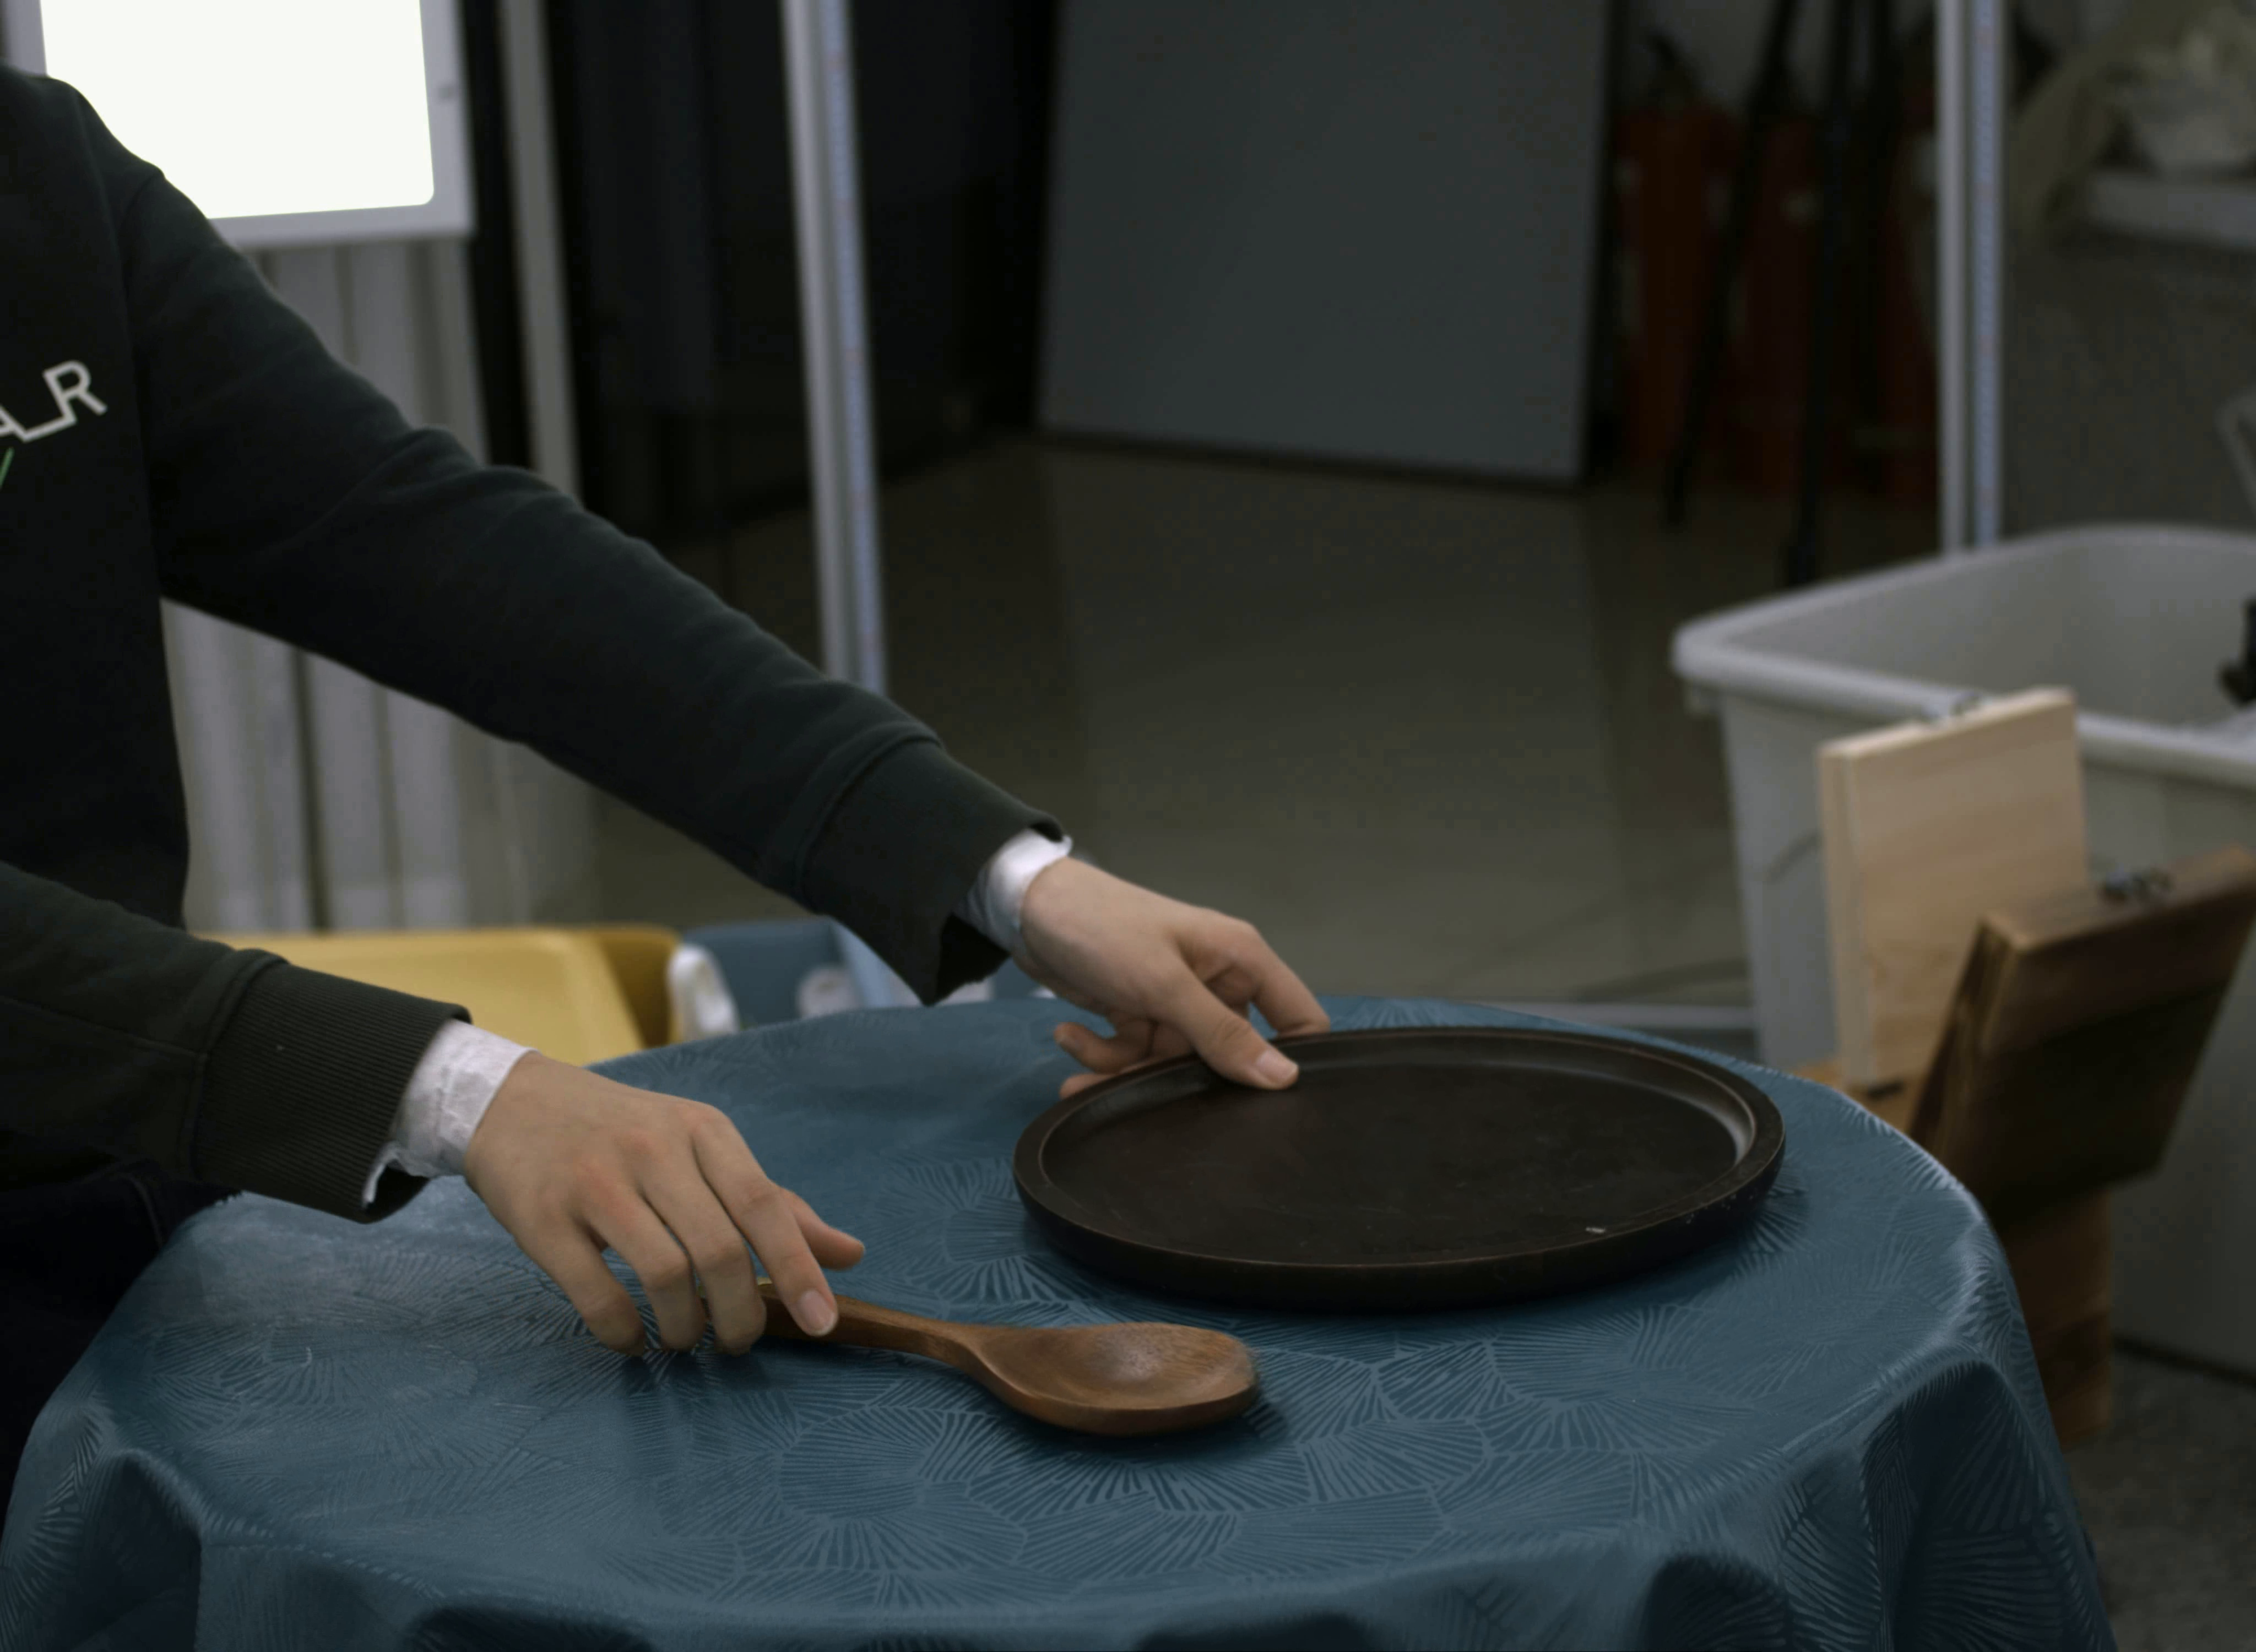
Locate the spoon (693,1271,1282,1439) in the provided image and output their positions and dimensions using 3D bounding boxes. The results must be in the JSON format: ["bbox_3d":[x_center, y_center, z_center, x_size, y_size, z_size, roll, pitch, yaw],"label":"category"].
[{"bbox_3d":[-0.046,0.156,1.606,0.217,0.017,0.074,8,18,39],"label":"spoon"}]

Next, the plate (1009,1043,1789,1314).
[{"bbox_3d":[0.088,0.111,1.741,0.251,0.029,0.255,-3,14,0],"label":"plate"}]
